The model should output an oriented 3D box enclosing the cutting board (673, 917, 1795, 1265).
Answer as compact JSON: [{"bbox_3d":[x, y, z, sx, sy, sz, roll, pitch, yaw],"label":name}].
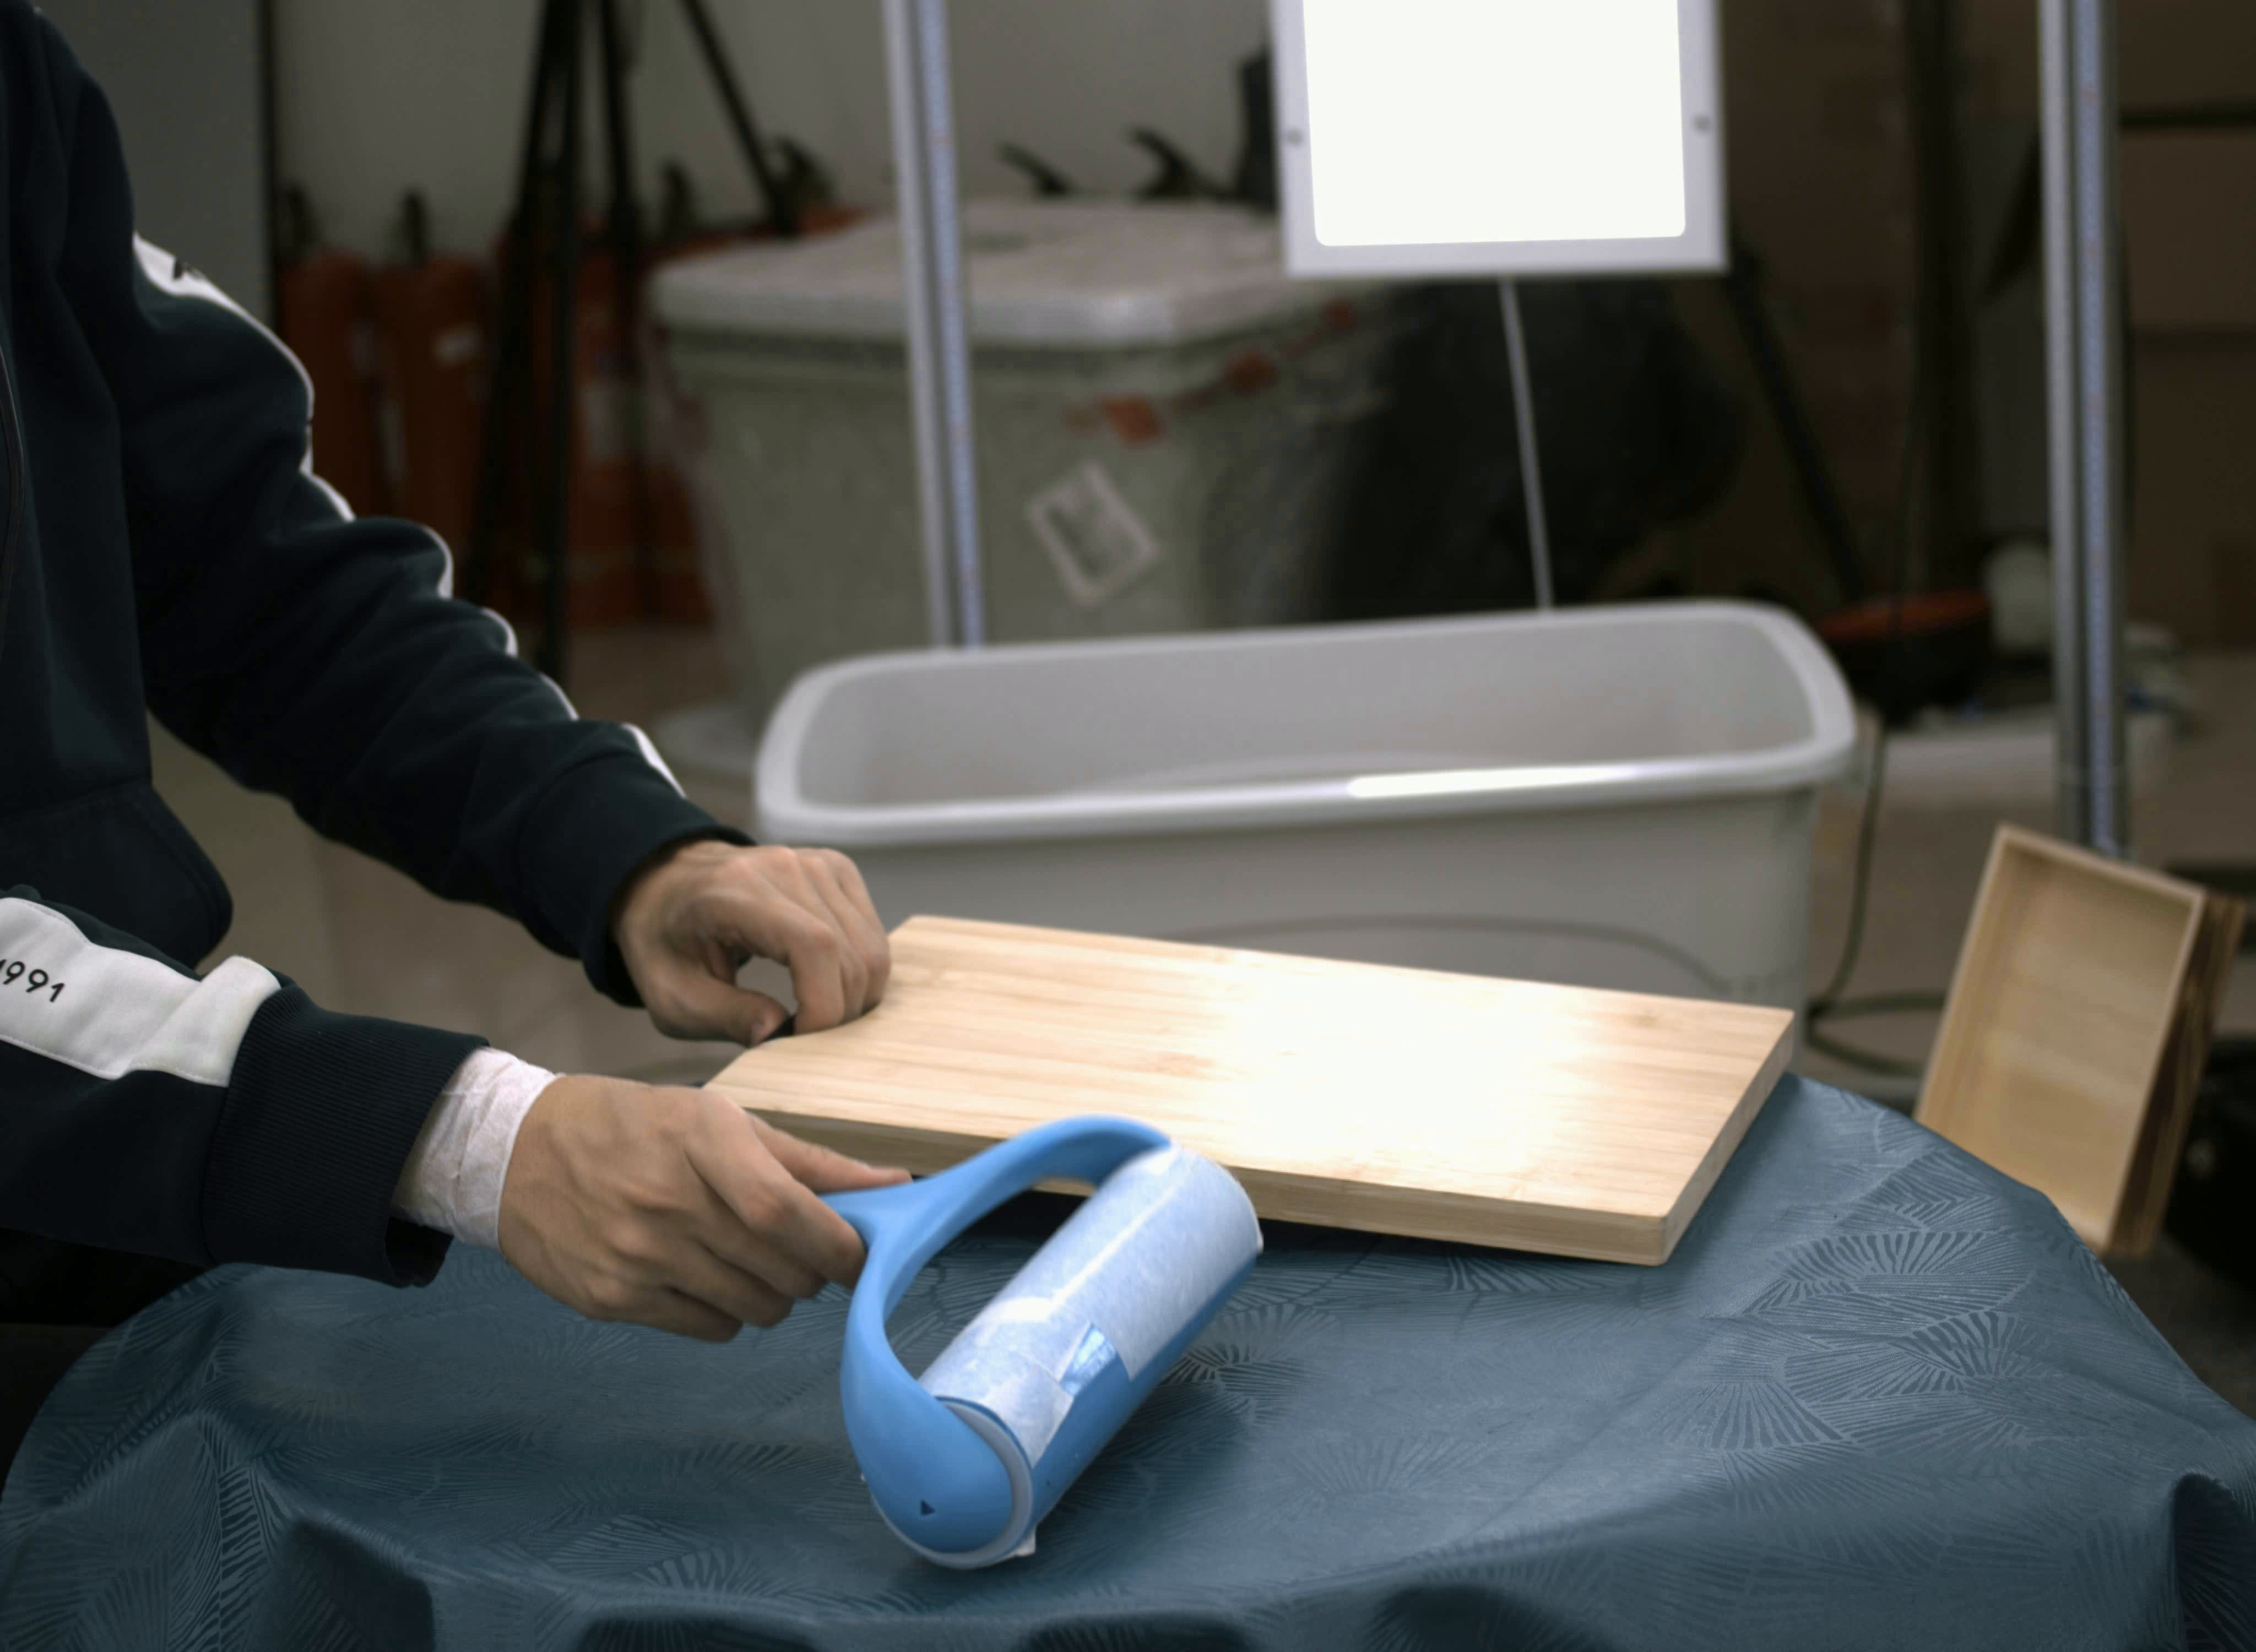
[{"bbox_3d":[0.043,0.089,1.931,0.352,0.024,0.247,5,16,17],"label":"cutting board"}]

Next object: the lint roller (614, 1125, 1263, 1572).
[{"bbox_3d":[-0.071,0.144,1.658,0.182,0.068,0.225,12,23,16],"label":"lint roller"}]
